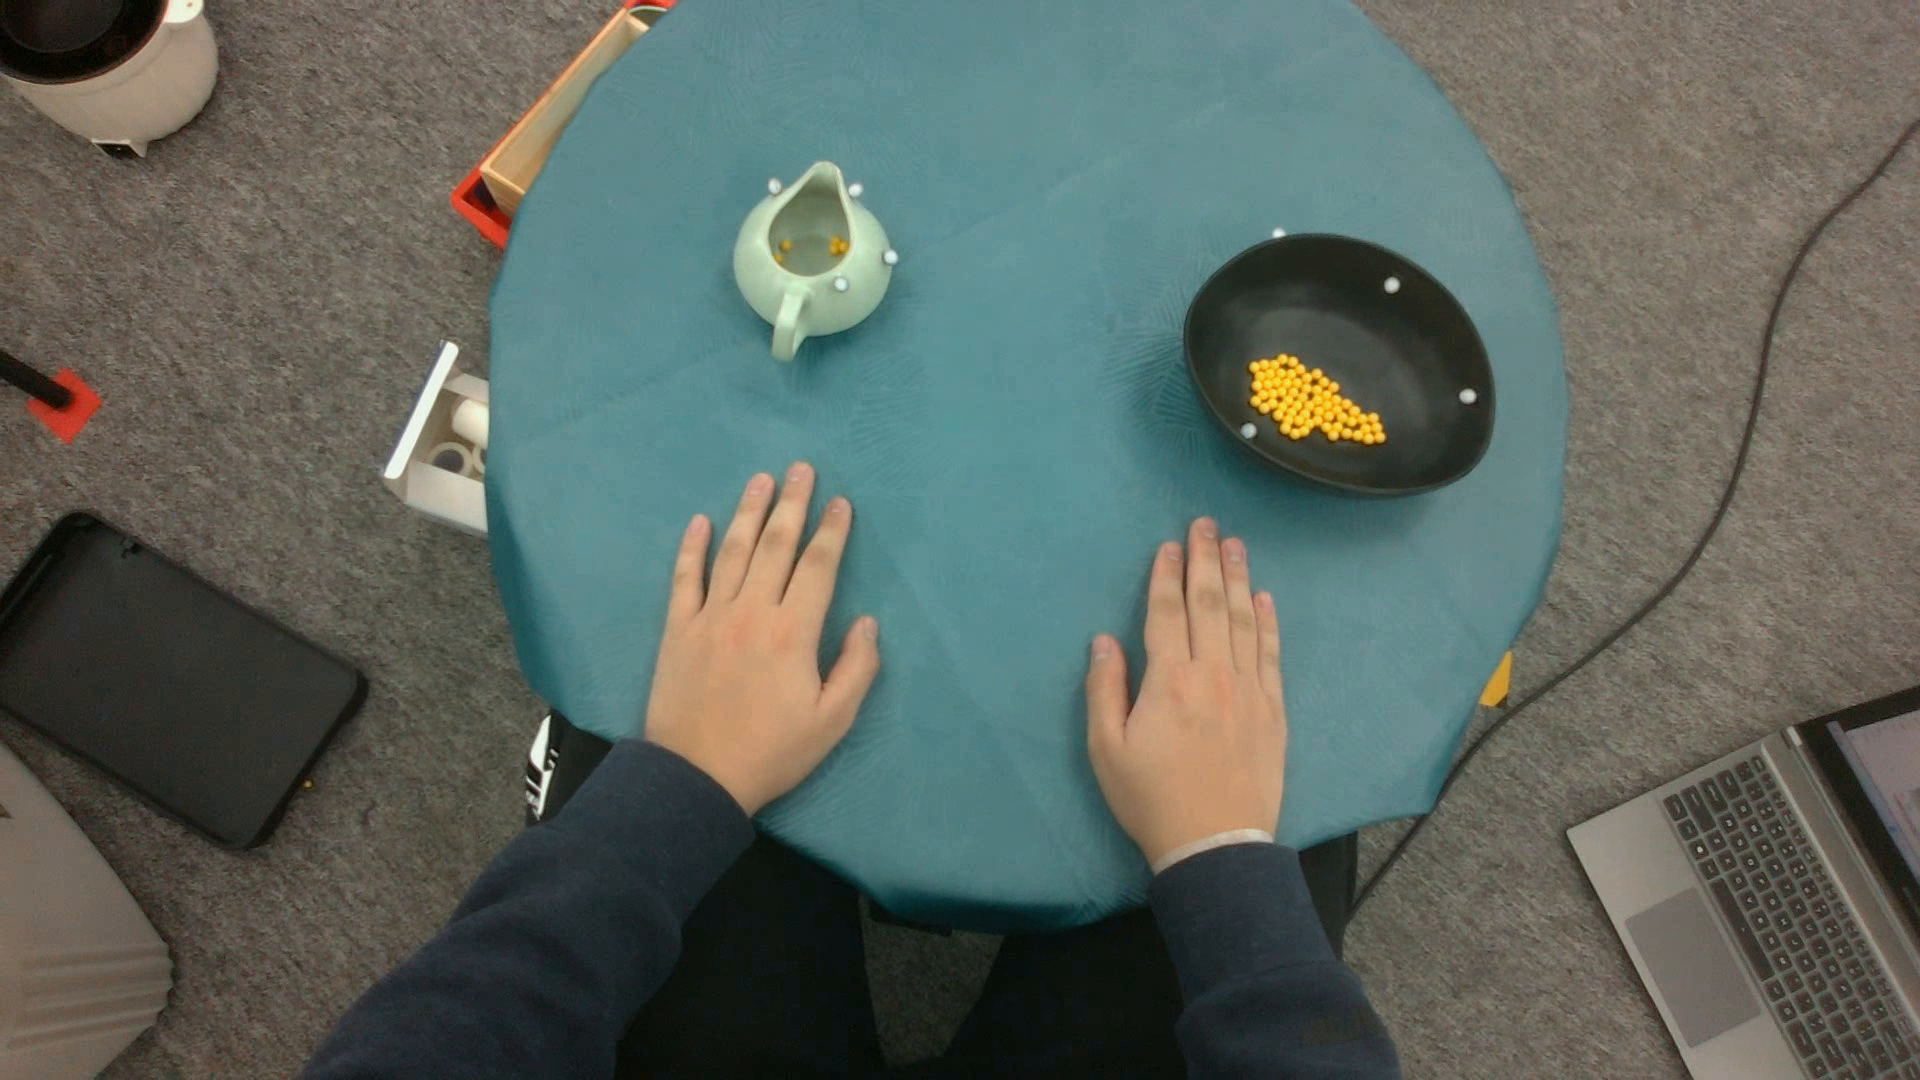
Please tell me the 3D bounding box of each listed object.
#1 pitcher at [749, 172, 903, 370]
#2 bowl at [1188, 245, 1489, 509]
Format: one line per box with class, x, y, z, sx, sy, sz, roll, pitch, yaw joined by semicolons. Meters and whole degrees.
pitcher;-0.077;-0.142;0.757;0.086;0.060;0.108;10;77;2
bowl;0.201;-0.081;0.749;0.170;0.066;0.137;25;76;4
